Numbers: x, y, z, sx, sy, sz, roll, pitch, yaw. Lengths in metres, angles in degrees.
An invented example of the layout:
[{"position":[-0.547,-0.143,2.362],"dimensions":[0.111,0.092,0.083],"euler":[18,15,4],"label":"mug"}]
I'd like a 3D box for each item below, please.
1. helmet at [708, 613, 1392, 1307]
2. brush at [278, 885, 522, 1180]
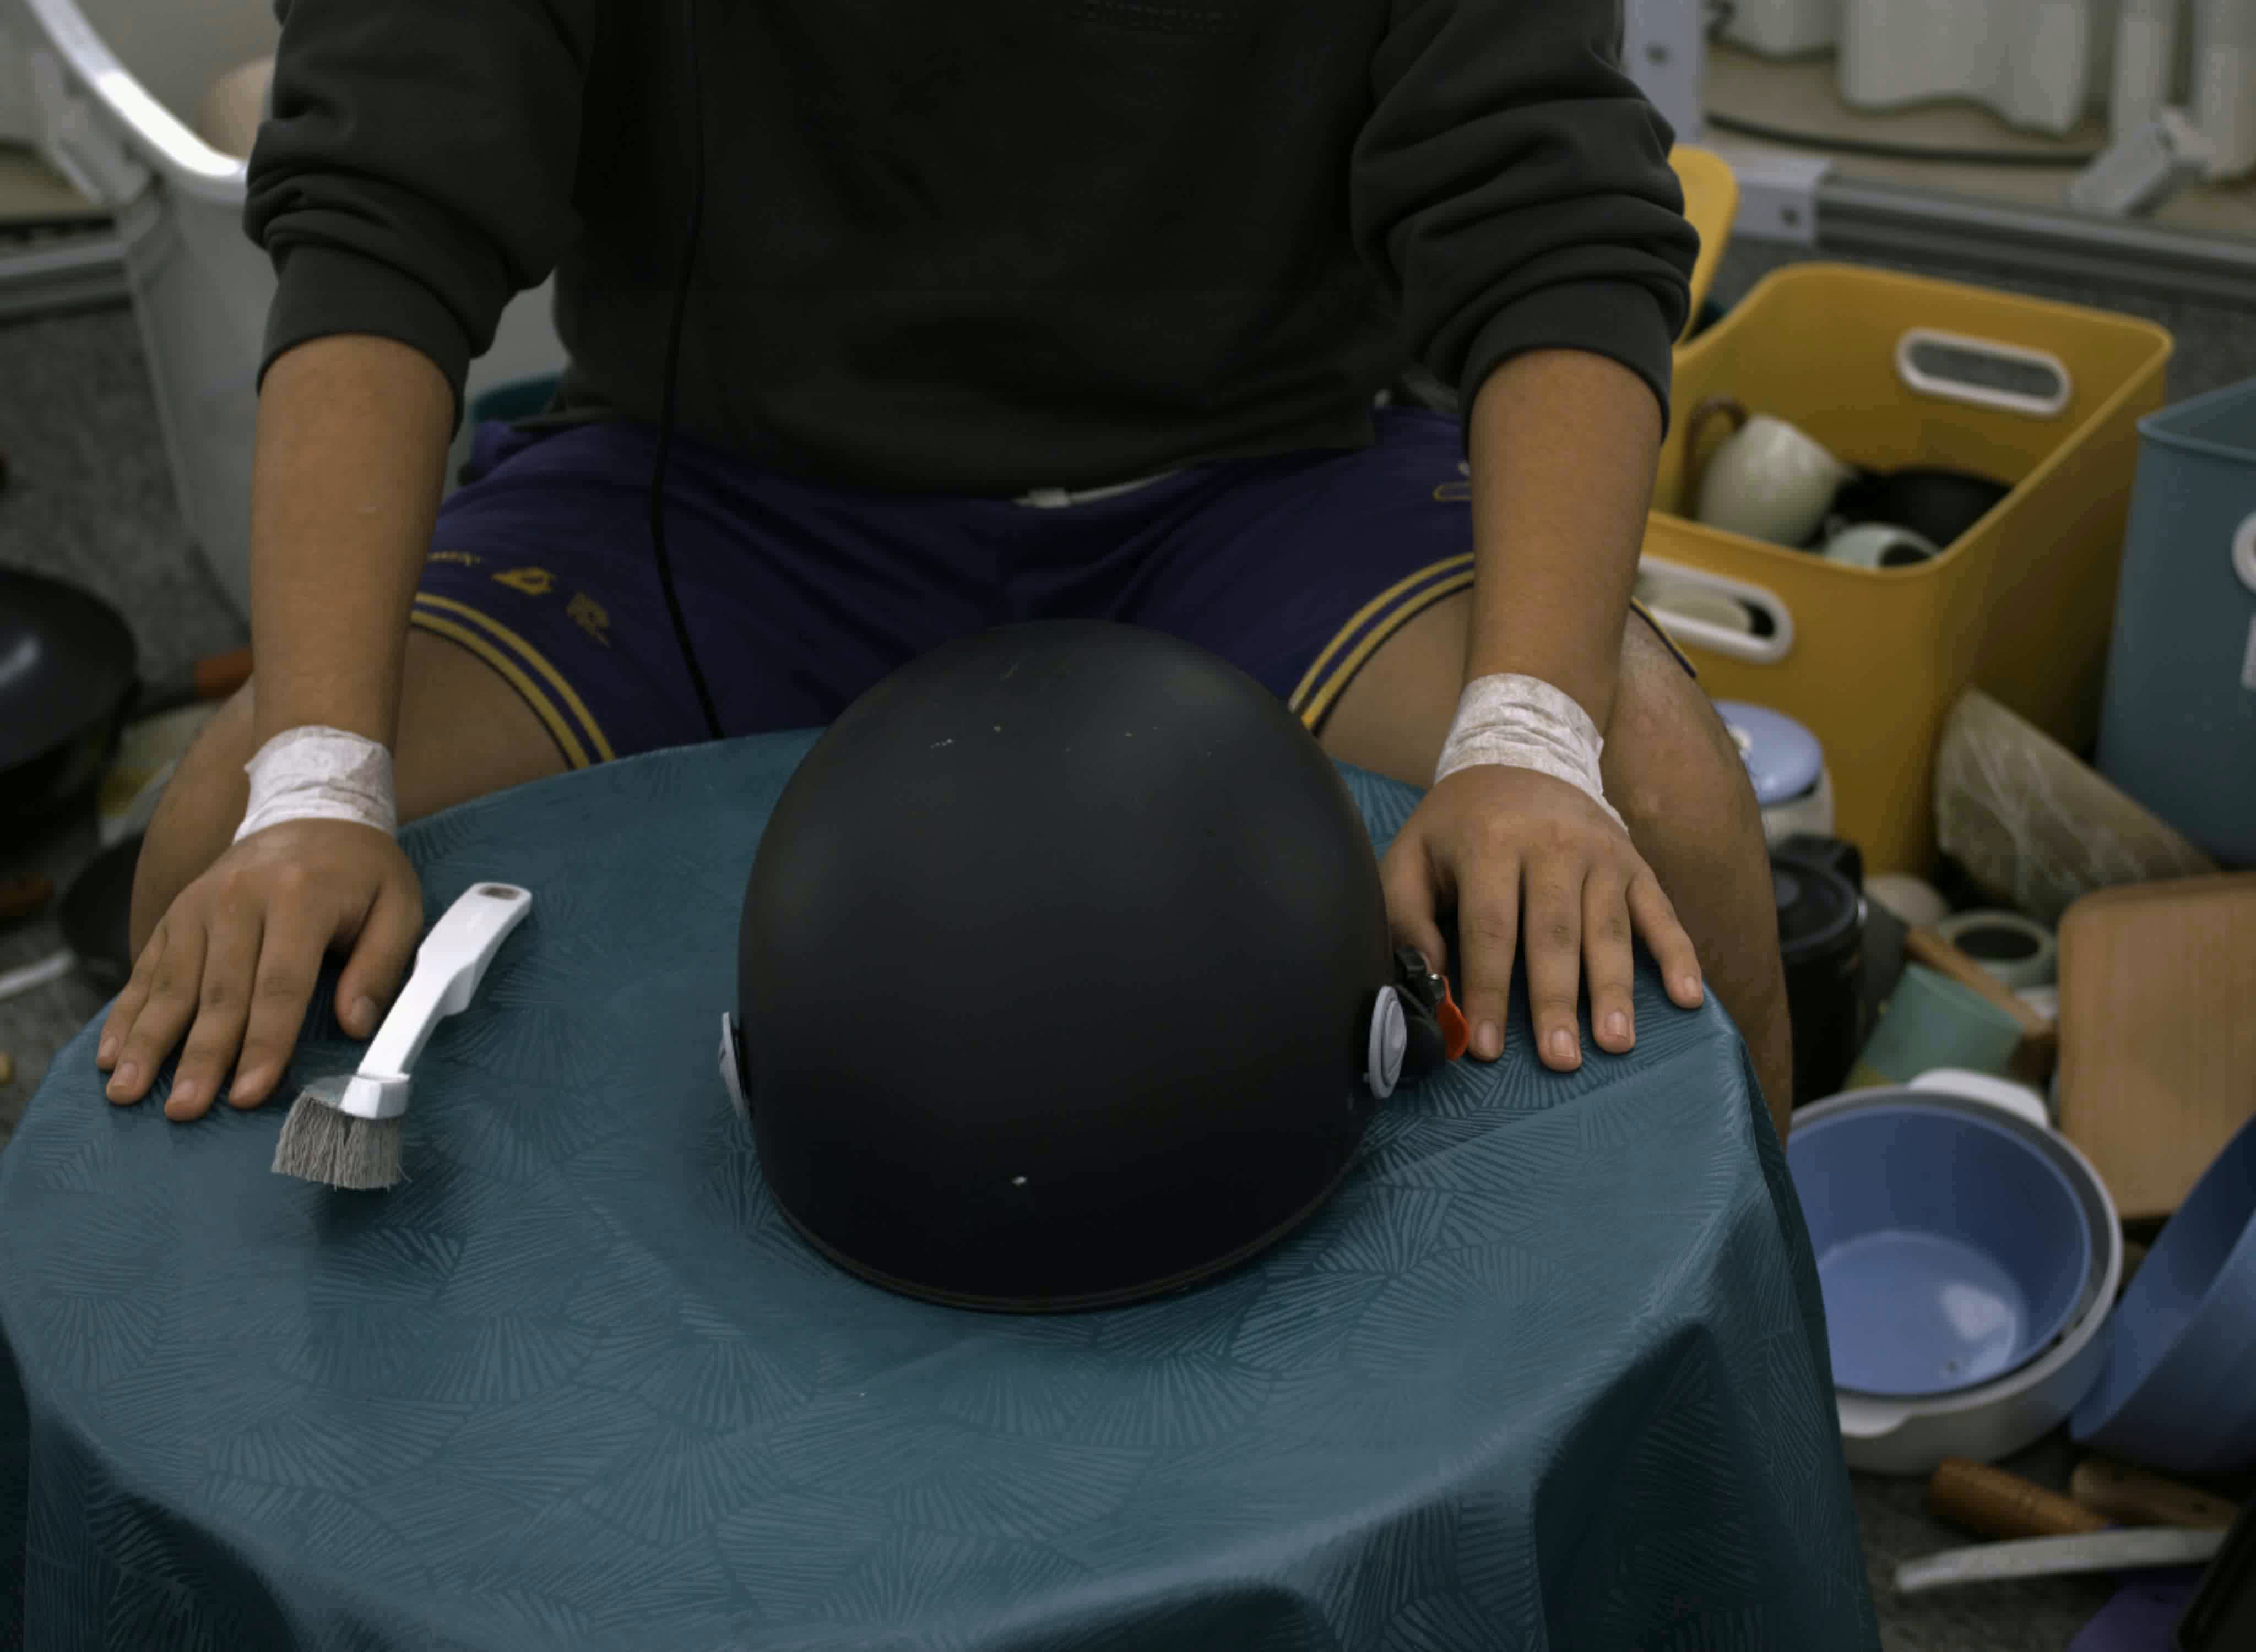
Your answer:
[{"position":[-0.026,0.026,1.881],"dimensions":[0.228,0.165,0.278],"euler":[-2,29,8],"label":"helmet"},{"position":[-0.249,0.075,1.951],"dimensions":[0.034,0.050,0.246],"euler":[9,16,5],"label":"brush"}]
